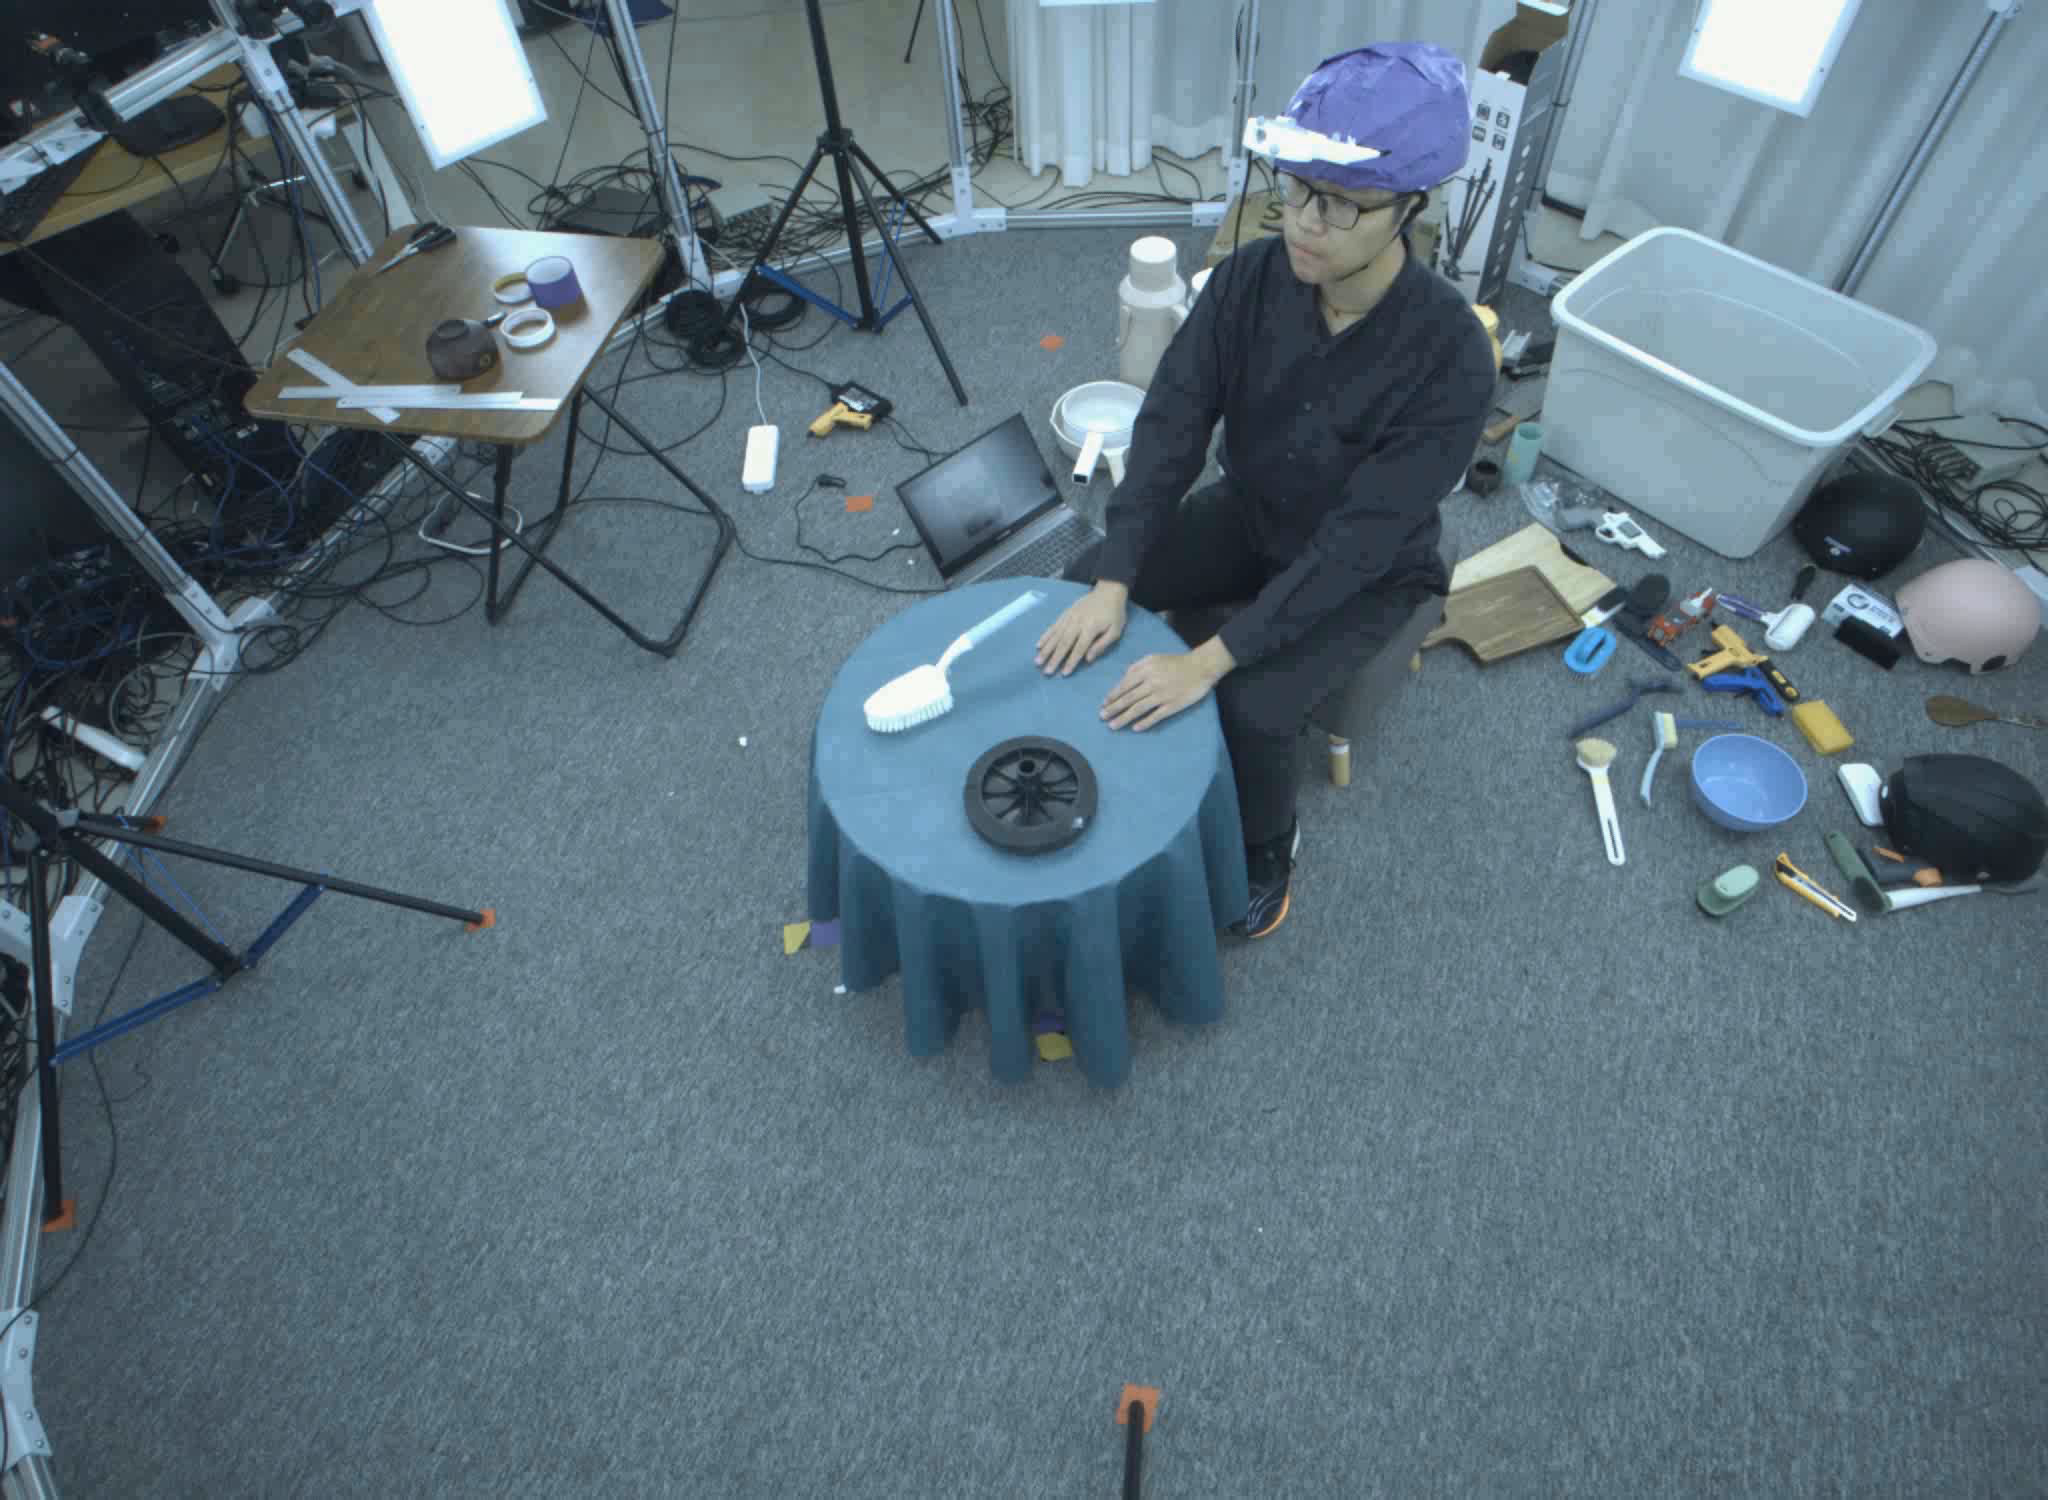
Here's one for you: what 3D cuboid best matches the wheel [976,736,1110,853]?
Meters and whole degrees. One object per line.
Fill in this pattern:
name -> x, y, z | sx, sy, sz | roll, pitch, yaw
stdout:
wheel -> 0.024, 0.047, 1.702 | 0.187, 0.080, 0.187 | -5, 53, -1

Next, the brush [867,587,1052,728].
brush -> -0.087, -0.128, 1.830 | 0.326, 0.084, 0.083 | -34, 96, -7
